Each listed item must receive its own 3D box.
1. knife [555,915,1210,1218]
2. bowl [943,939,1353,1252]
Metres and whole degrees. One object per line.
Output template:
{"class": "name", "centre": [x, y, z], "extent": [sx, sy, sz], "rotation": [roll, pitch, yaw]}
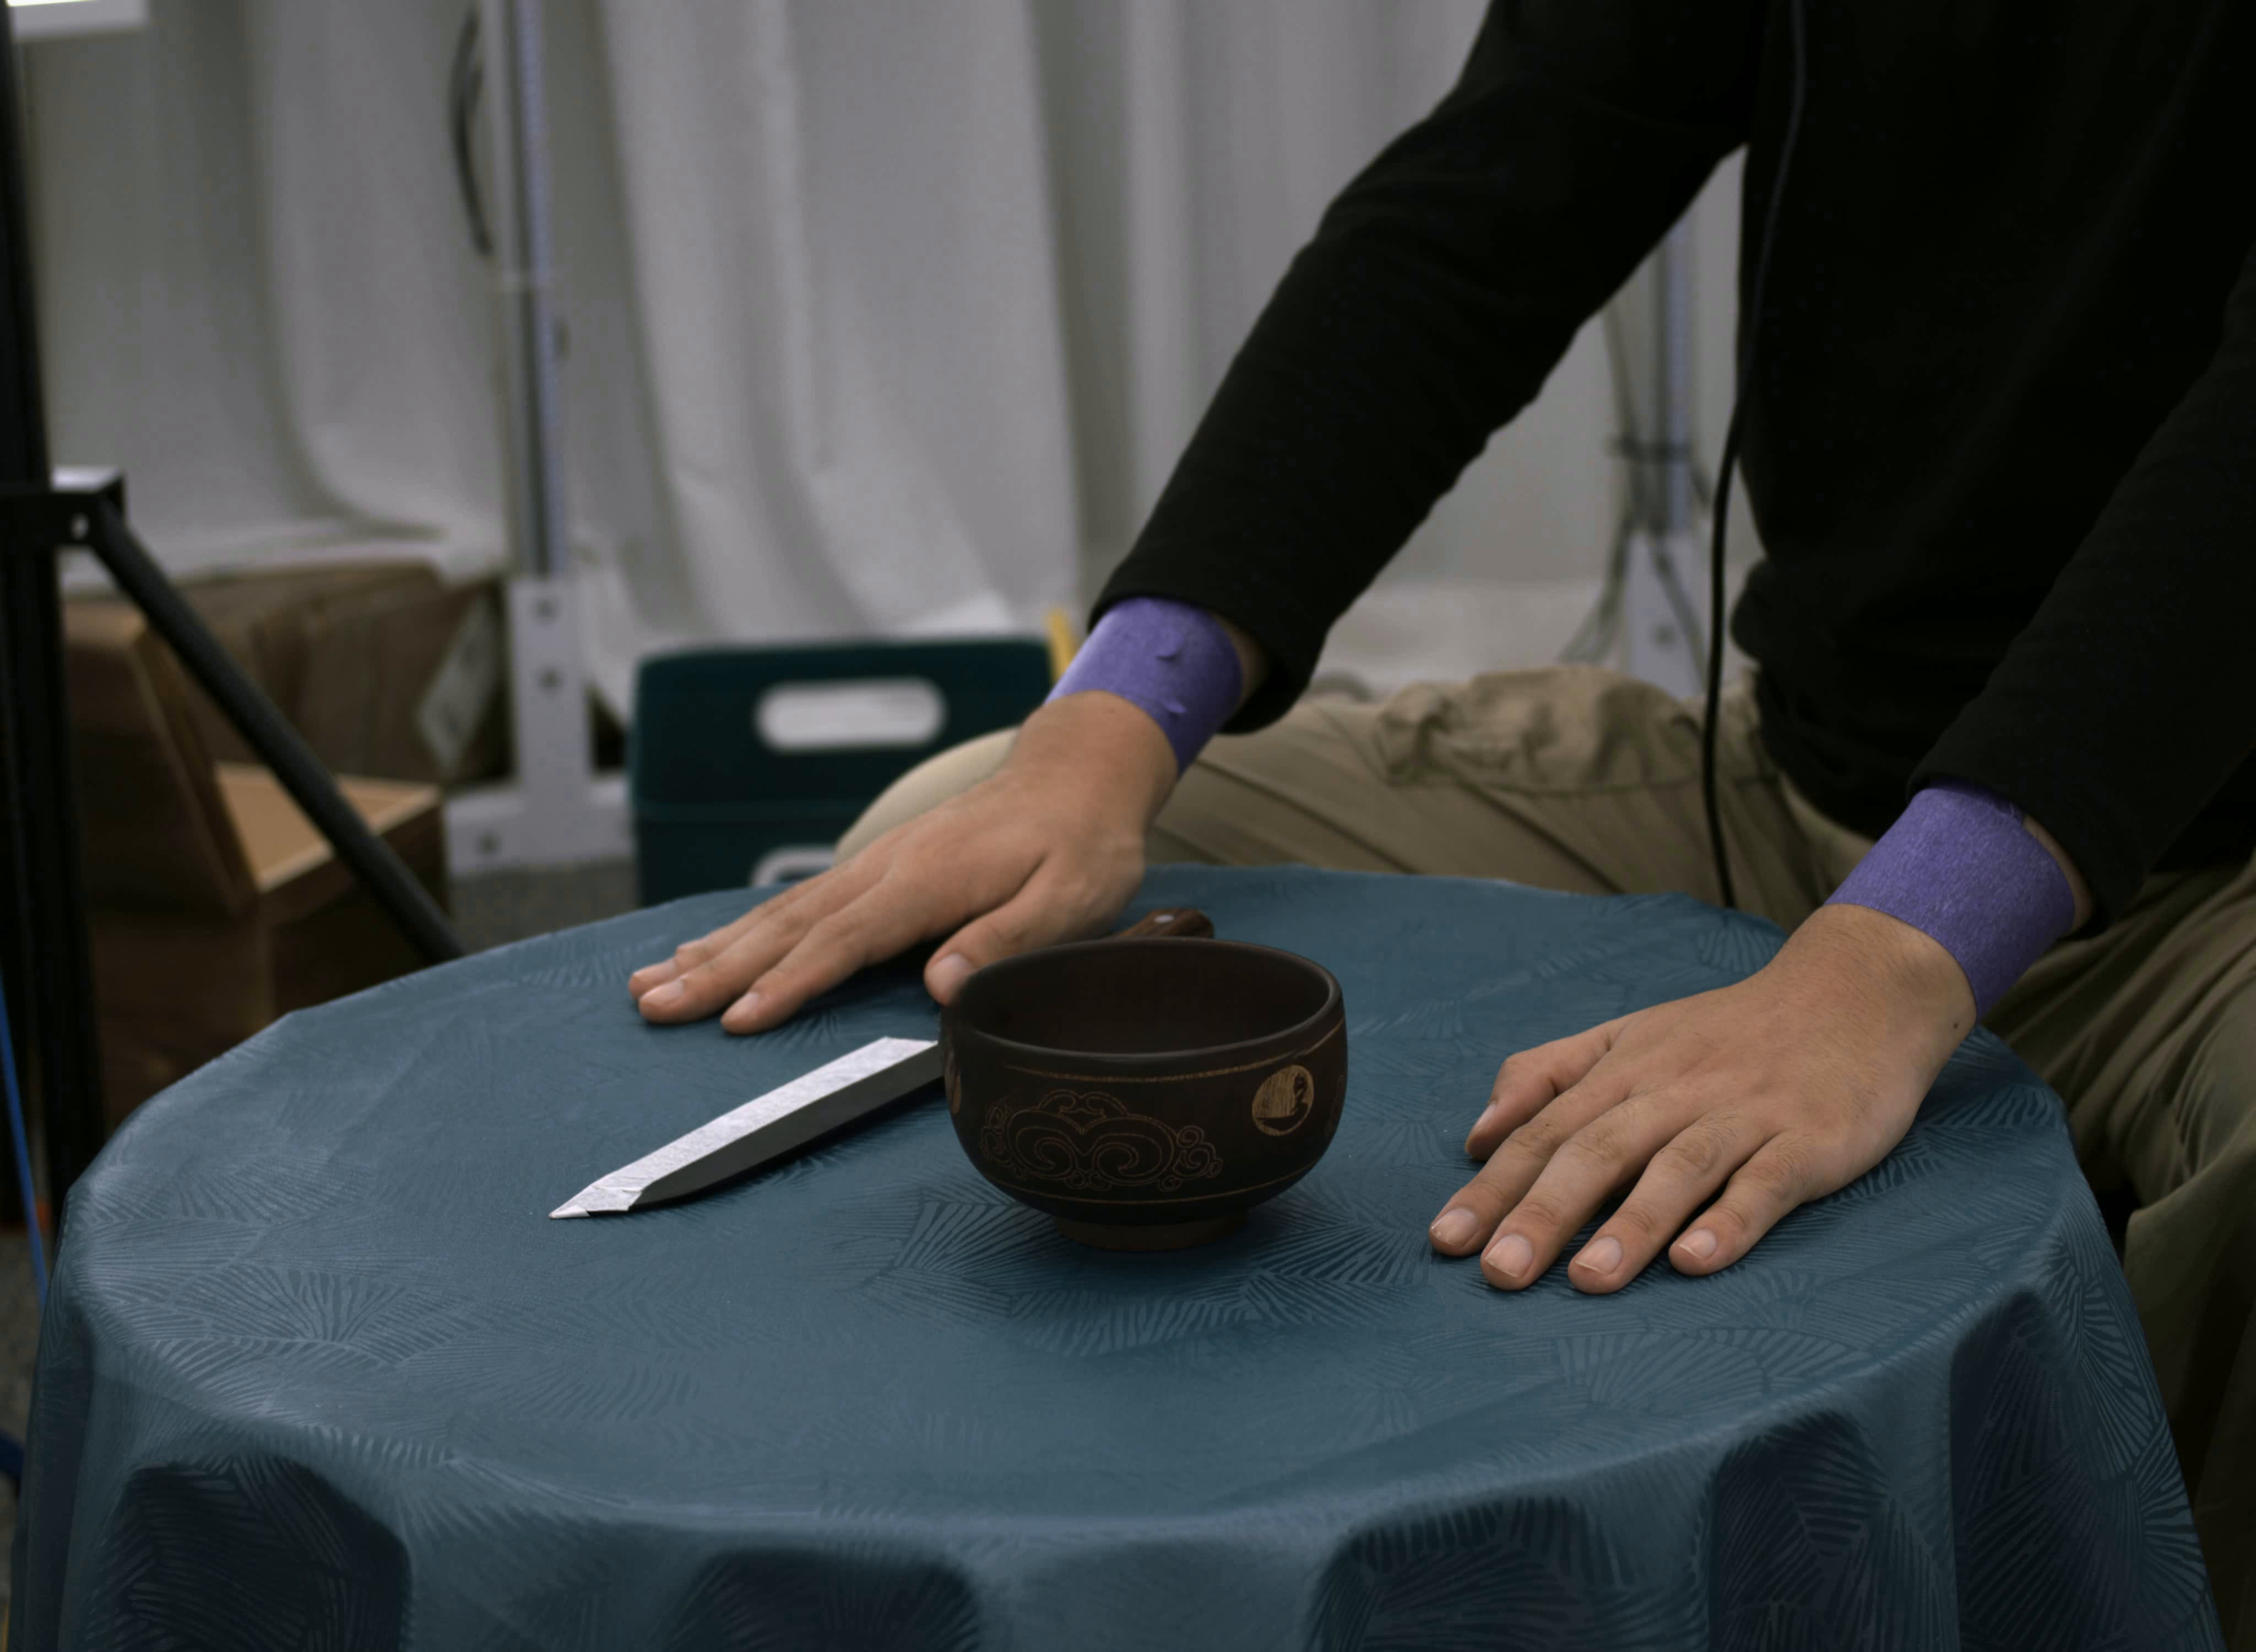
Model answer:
{"class": "knife", "centre": [-0.071, 0.076, 1.653], "extent": [0.051, 0.020, 0.283], "rotation": [5, 19, 42]}
{"class": "bowl", "centre": [0.007, 0.081, 1.523], "extent": [0.117, 0.070, 0.118], "rotation": [-3, 14, -1]}
